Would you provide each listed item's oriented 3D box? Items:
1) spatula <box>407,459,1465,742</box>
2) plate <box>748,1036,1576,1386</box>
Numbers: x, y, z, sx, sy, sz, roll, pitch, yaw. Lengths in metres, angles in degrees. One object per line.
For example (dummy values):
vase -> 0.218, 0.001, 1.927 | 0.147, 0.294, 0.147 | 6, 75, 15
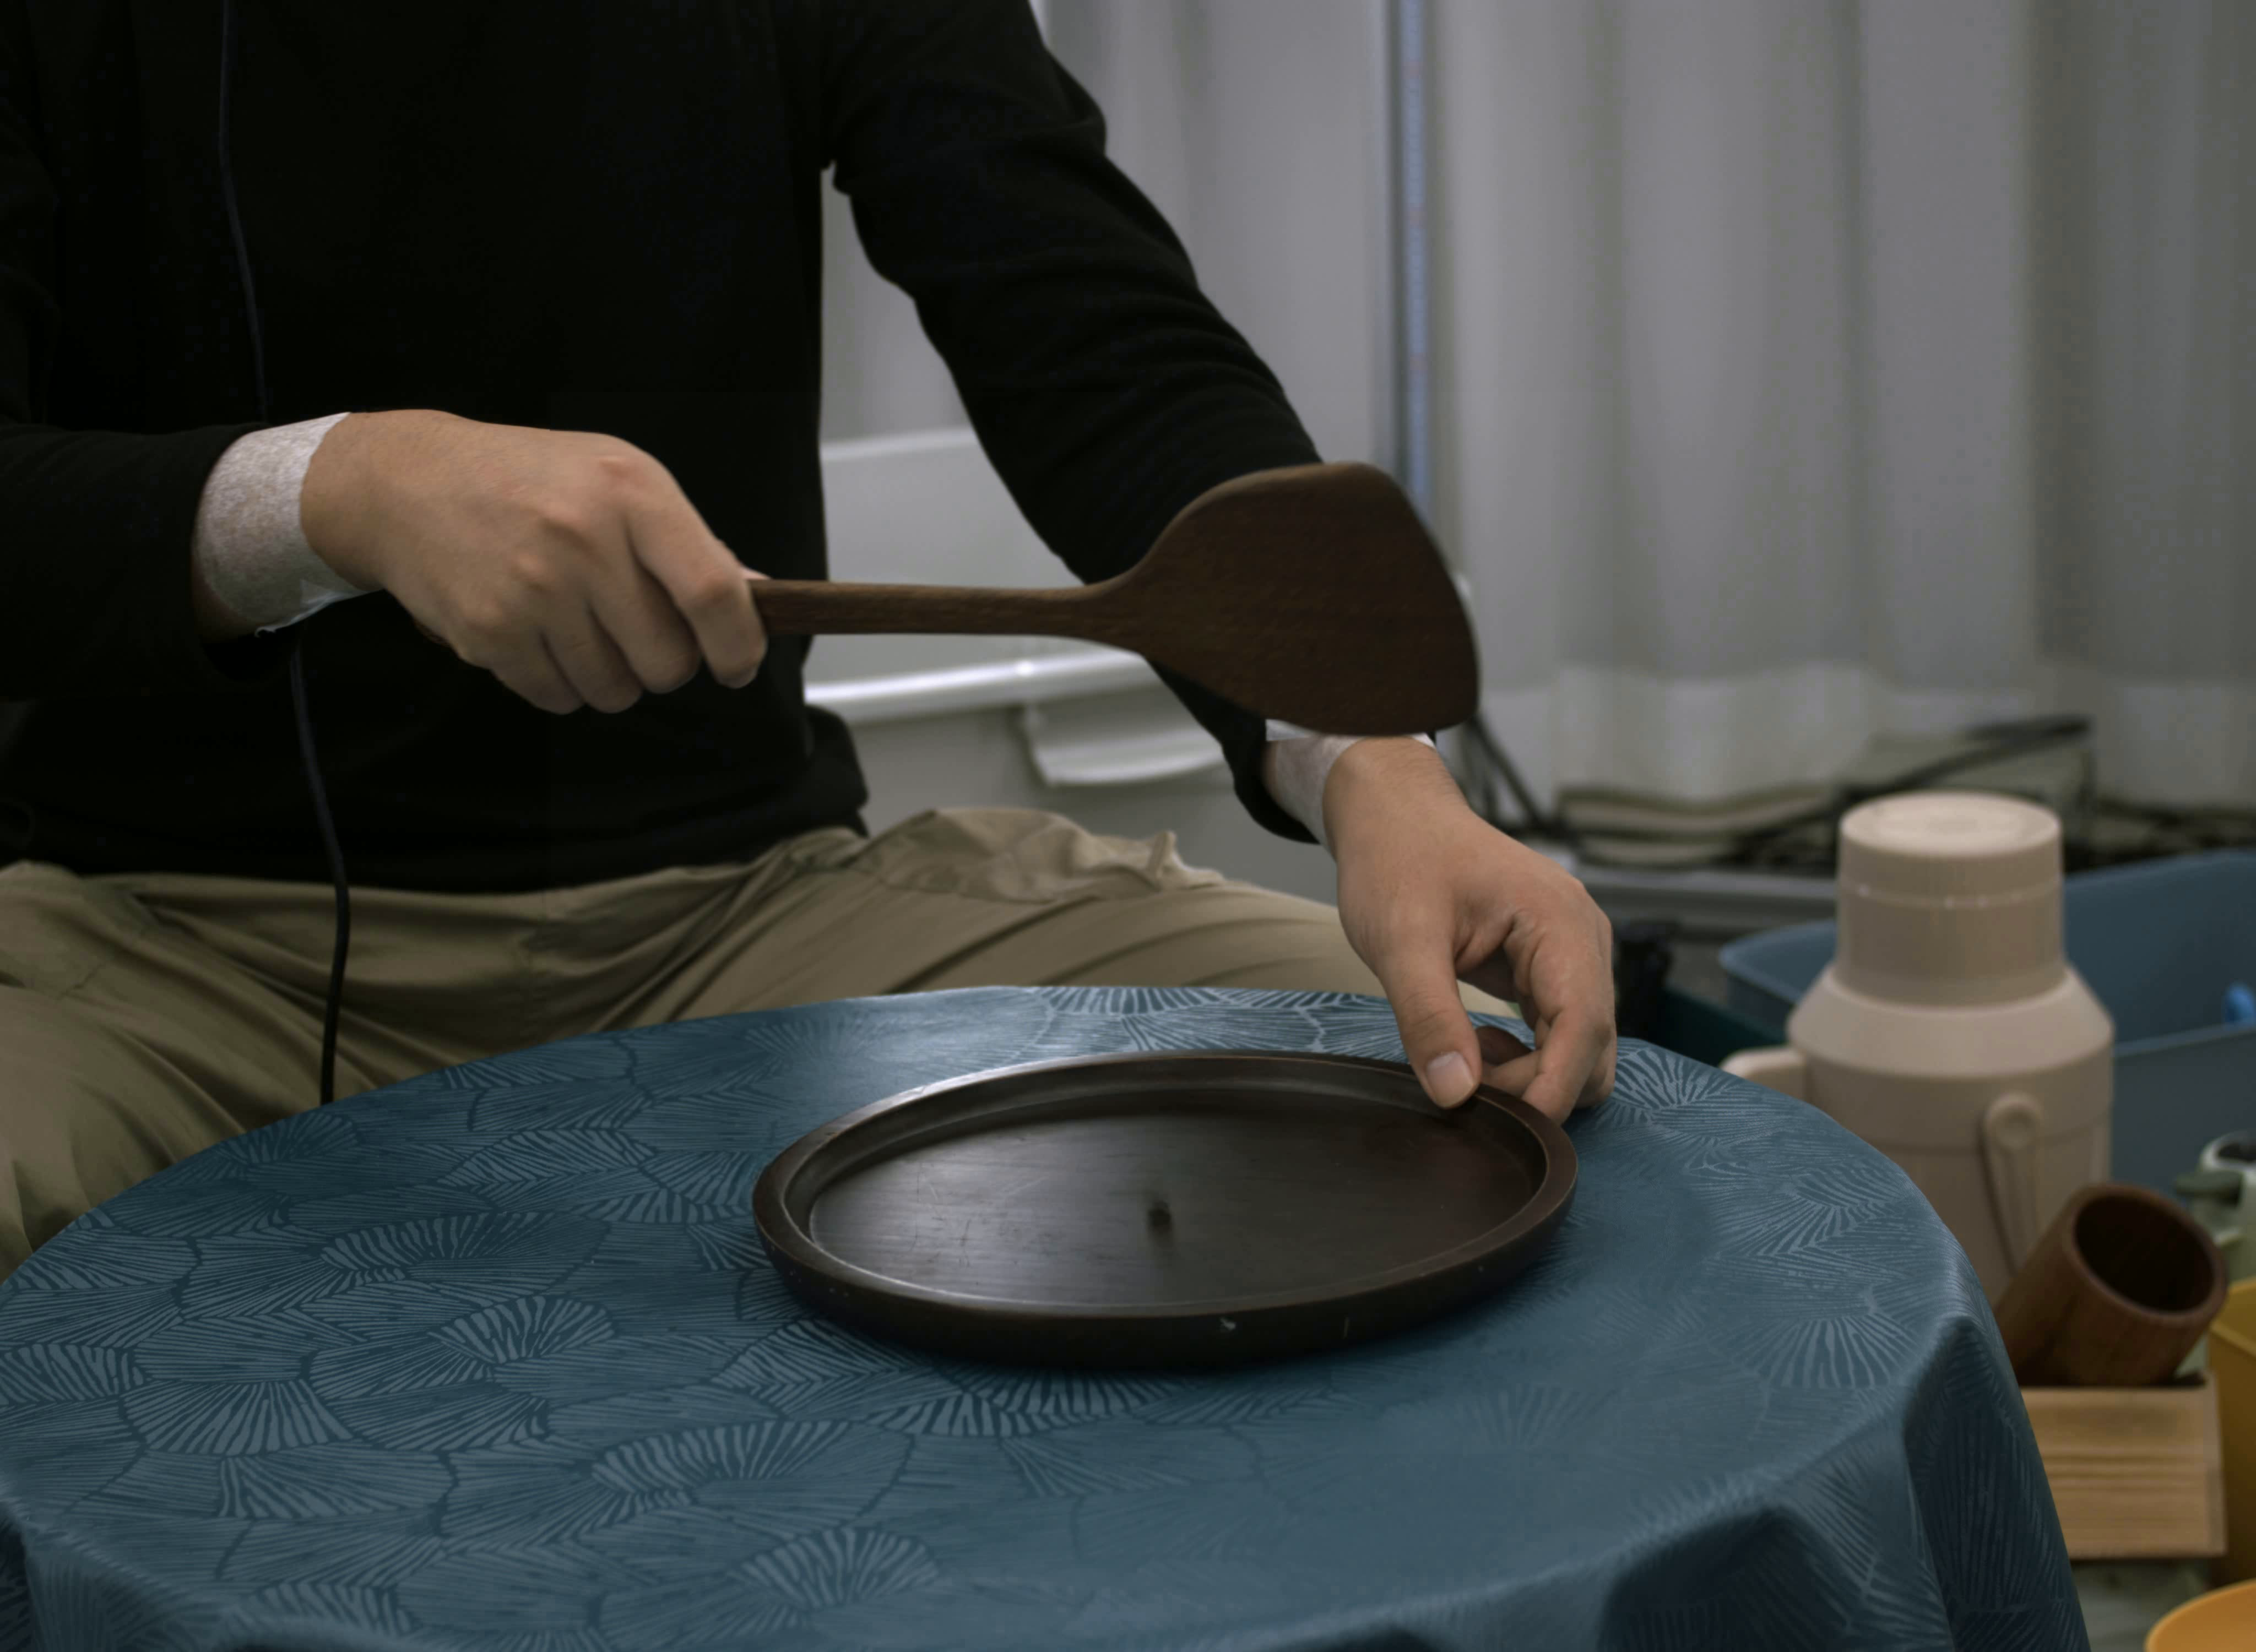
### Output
spatula -> -0.069, -0.066, 1.652 | 0.387, 0.095, 0.016 | 2, 38, 35
plate -> 0.011, 0.116, 1.665 | 0.254, 0.029, 0.256 | -3, 16, 1
